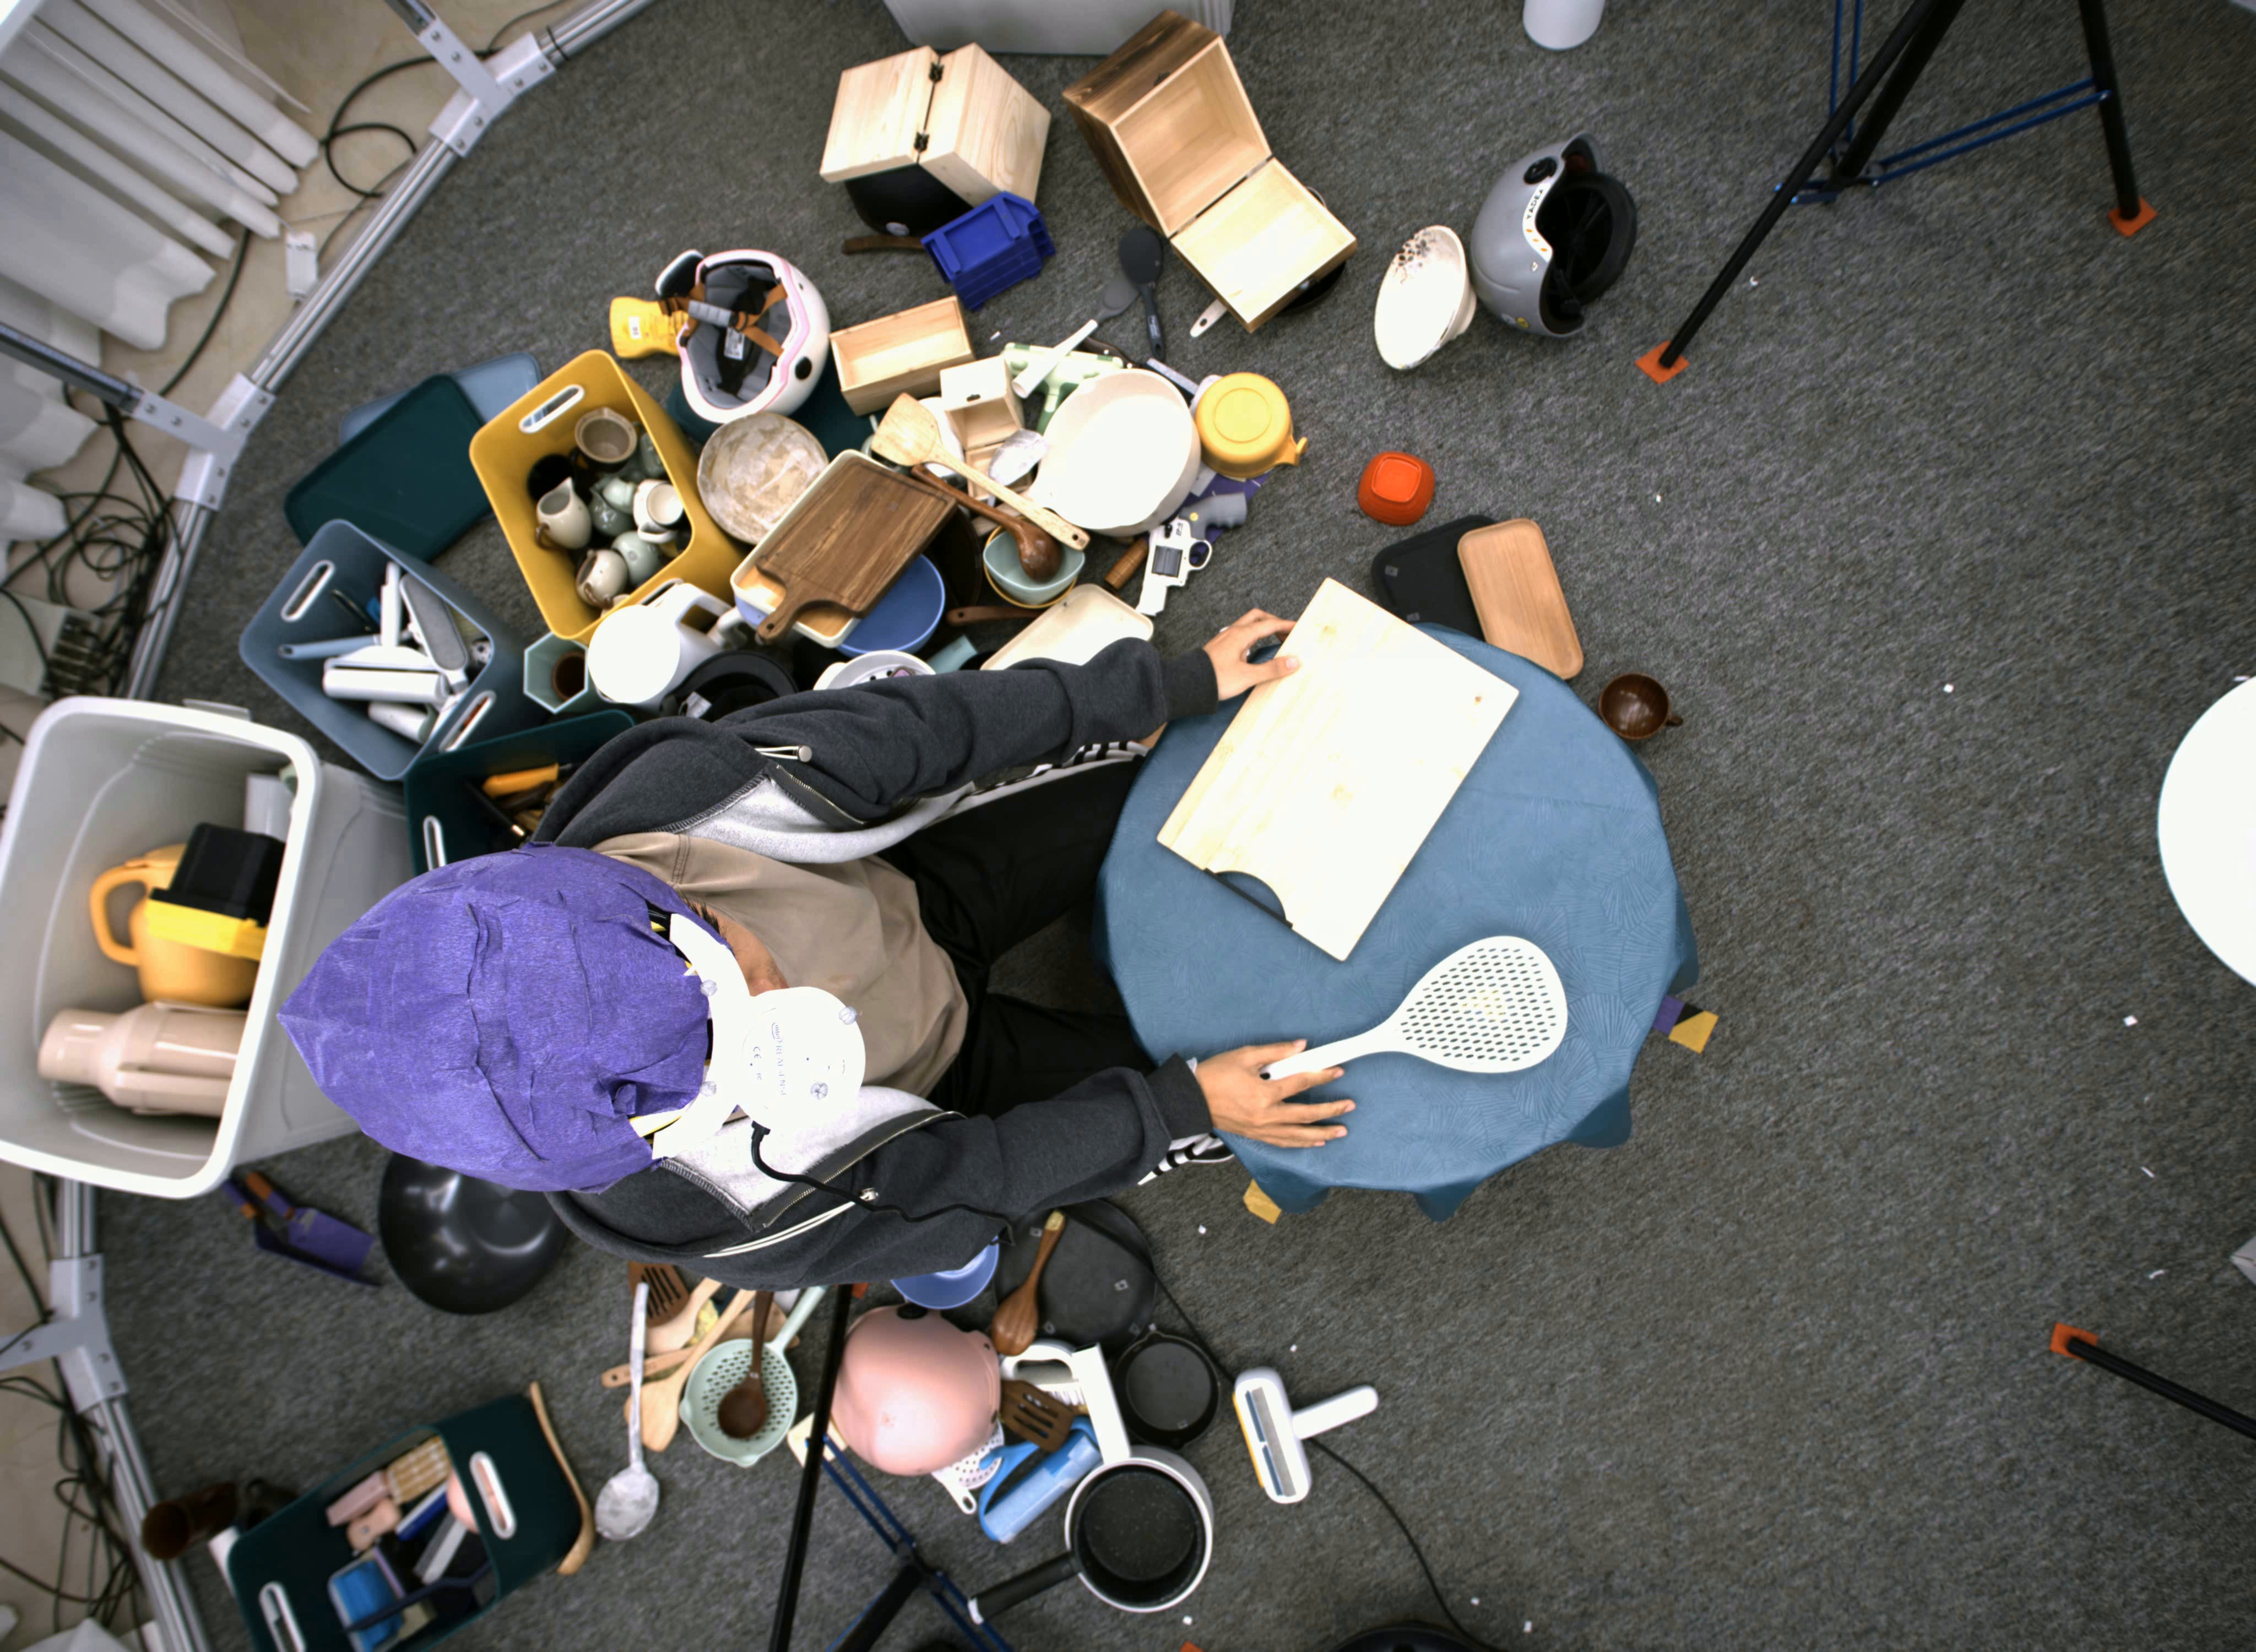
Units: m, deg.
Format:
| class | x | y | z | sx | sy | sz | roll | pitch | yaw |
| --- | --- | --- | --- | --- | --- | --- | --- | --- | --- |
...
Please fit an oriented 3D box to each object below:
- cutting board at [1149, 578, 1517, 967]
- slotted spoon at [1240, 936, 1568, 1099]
| class | x | y | z | sx | sy | sz | roll | pitch | yaw |
| --- | --- | --- | --- | --- | --- | --- | --- | --- | --- |
| cutting board | 0.218 | -0.060 | 1.468 | 0.250 | 0.023 | 0.349 | 32 | 93 | 11 |
| slotted spoon | 0.277 | 0.216 | 1.429 | 0.350 | 0.050 | 0.136 | -20 | 85 | 9 |
